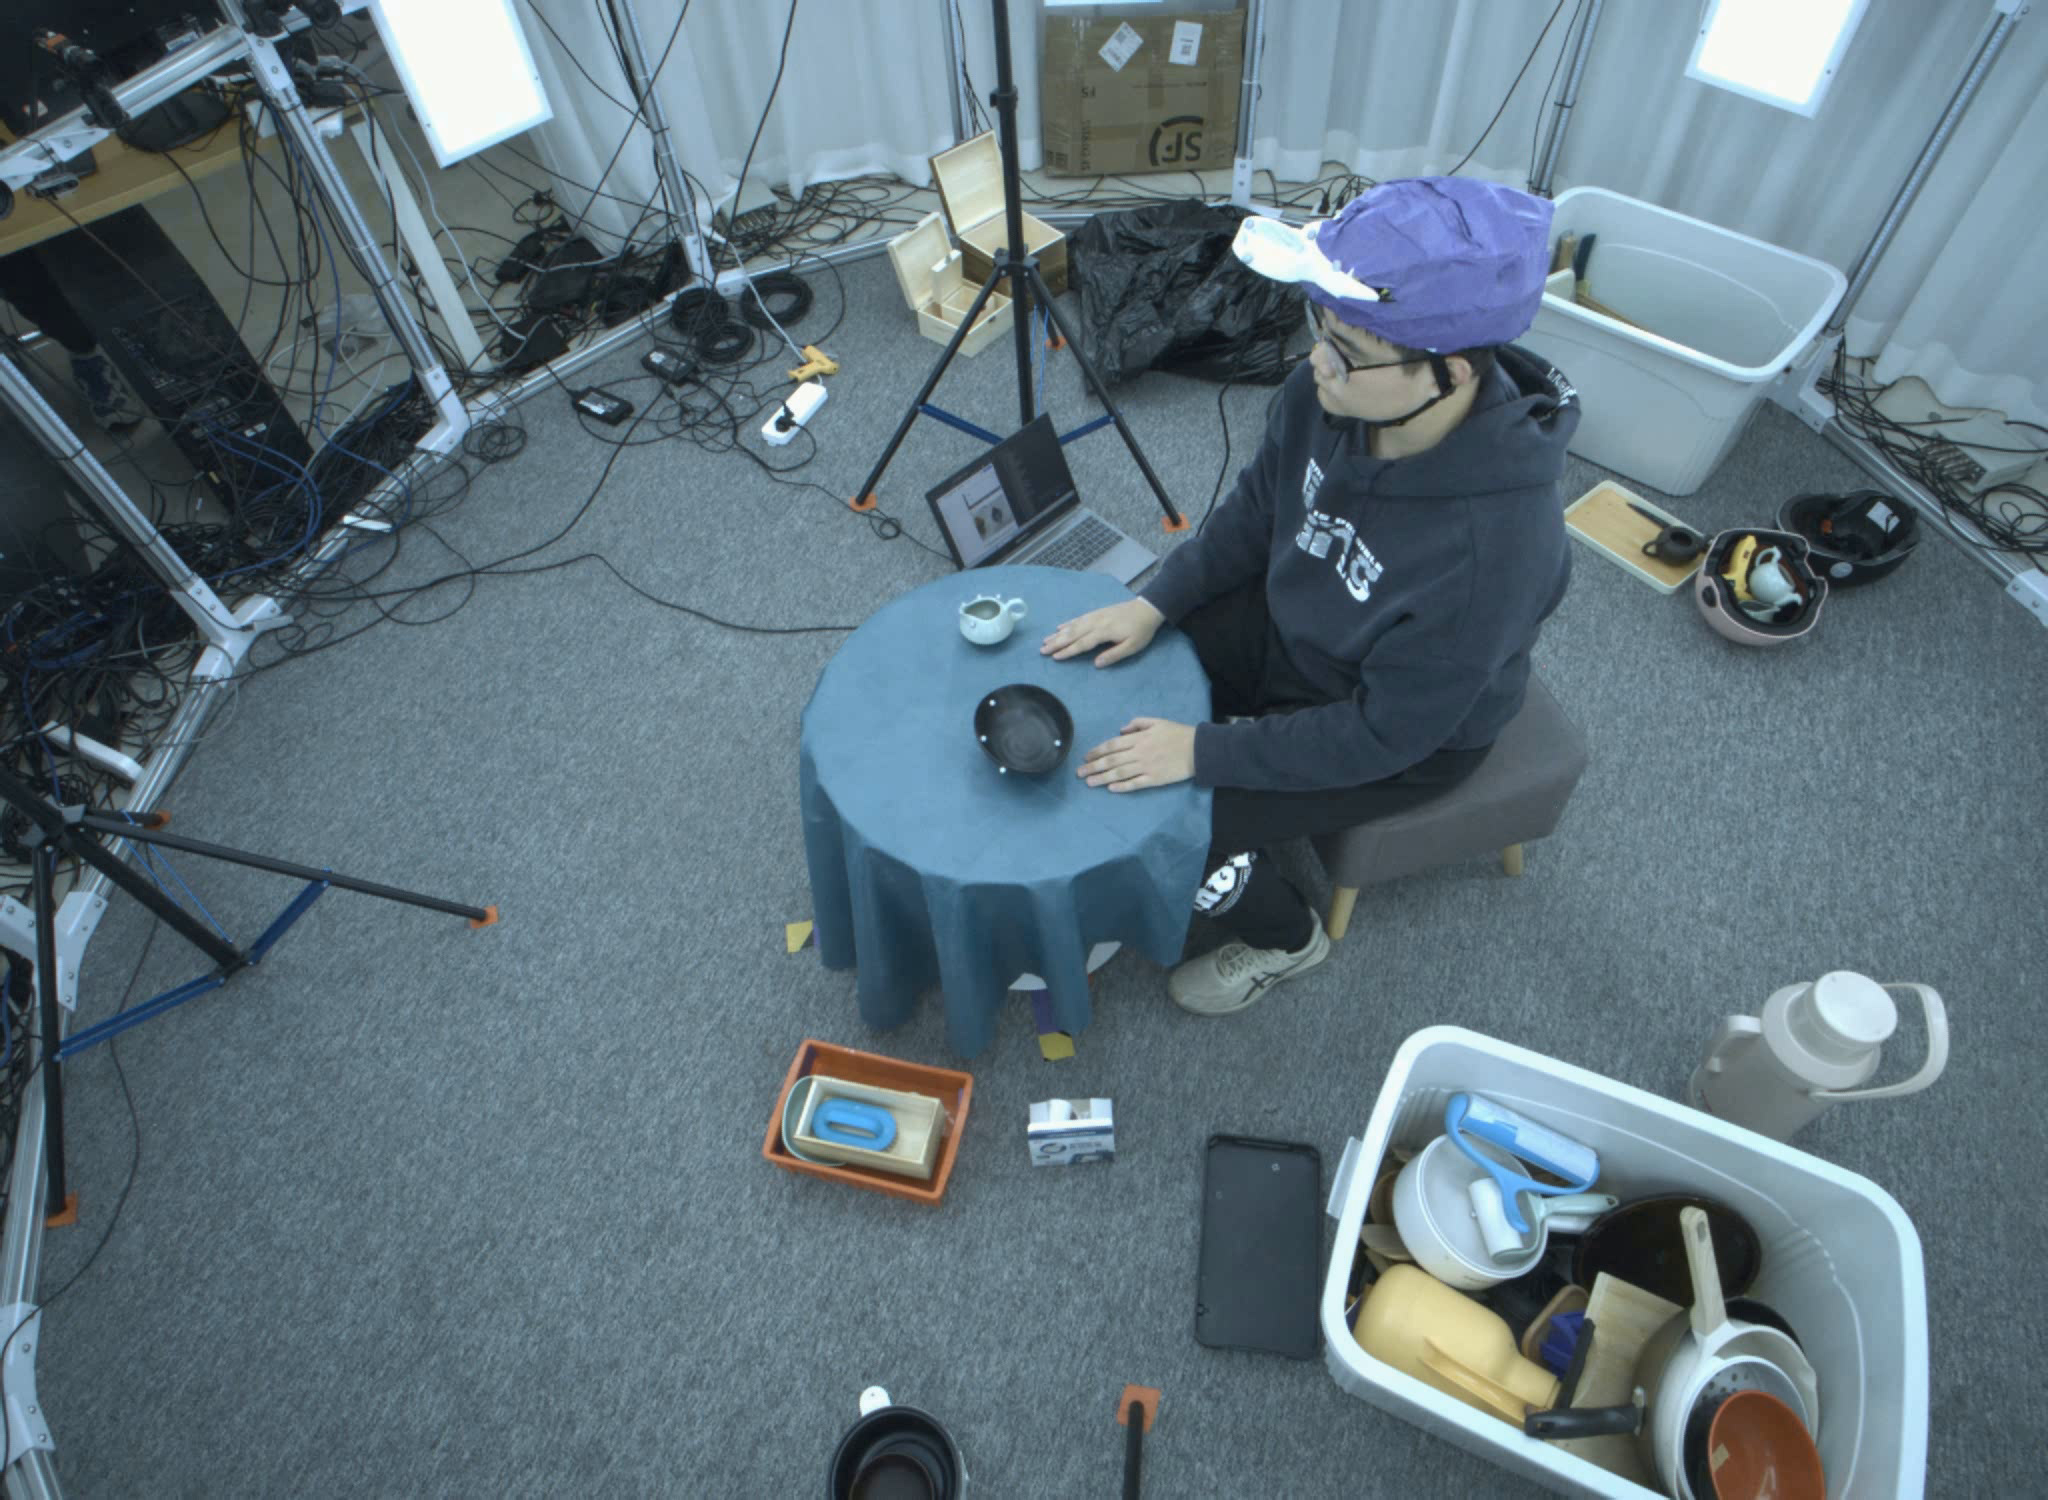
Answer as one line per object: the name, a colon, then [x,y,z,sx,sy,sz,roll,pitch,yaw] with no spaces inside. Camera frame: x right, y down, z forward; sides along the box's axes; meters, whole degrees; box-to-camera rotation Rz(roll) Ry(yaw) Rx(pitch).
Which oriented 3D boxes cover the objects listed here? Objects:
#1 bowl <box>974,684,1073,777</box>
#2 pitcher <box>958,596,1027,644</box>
bowl: [-0.002,-0.019,1.763,0.138,0.067,0.167,-20,56,-13]
pitcher: [-0.049,-0.206,1.900,0.108,0.061,0.085,-9,56,-7]
